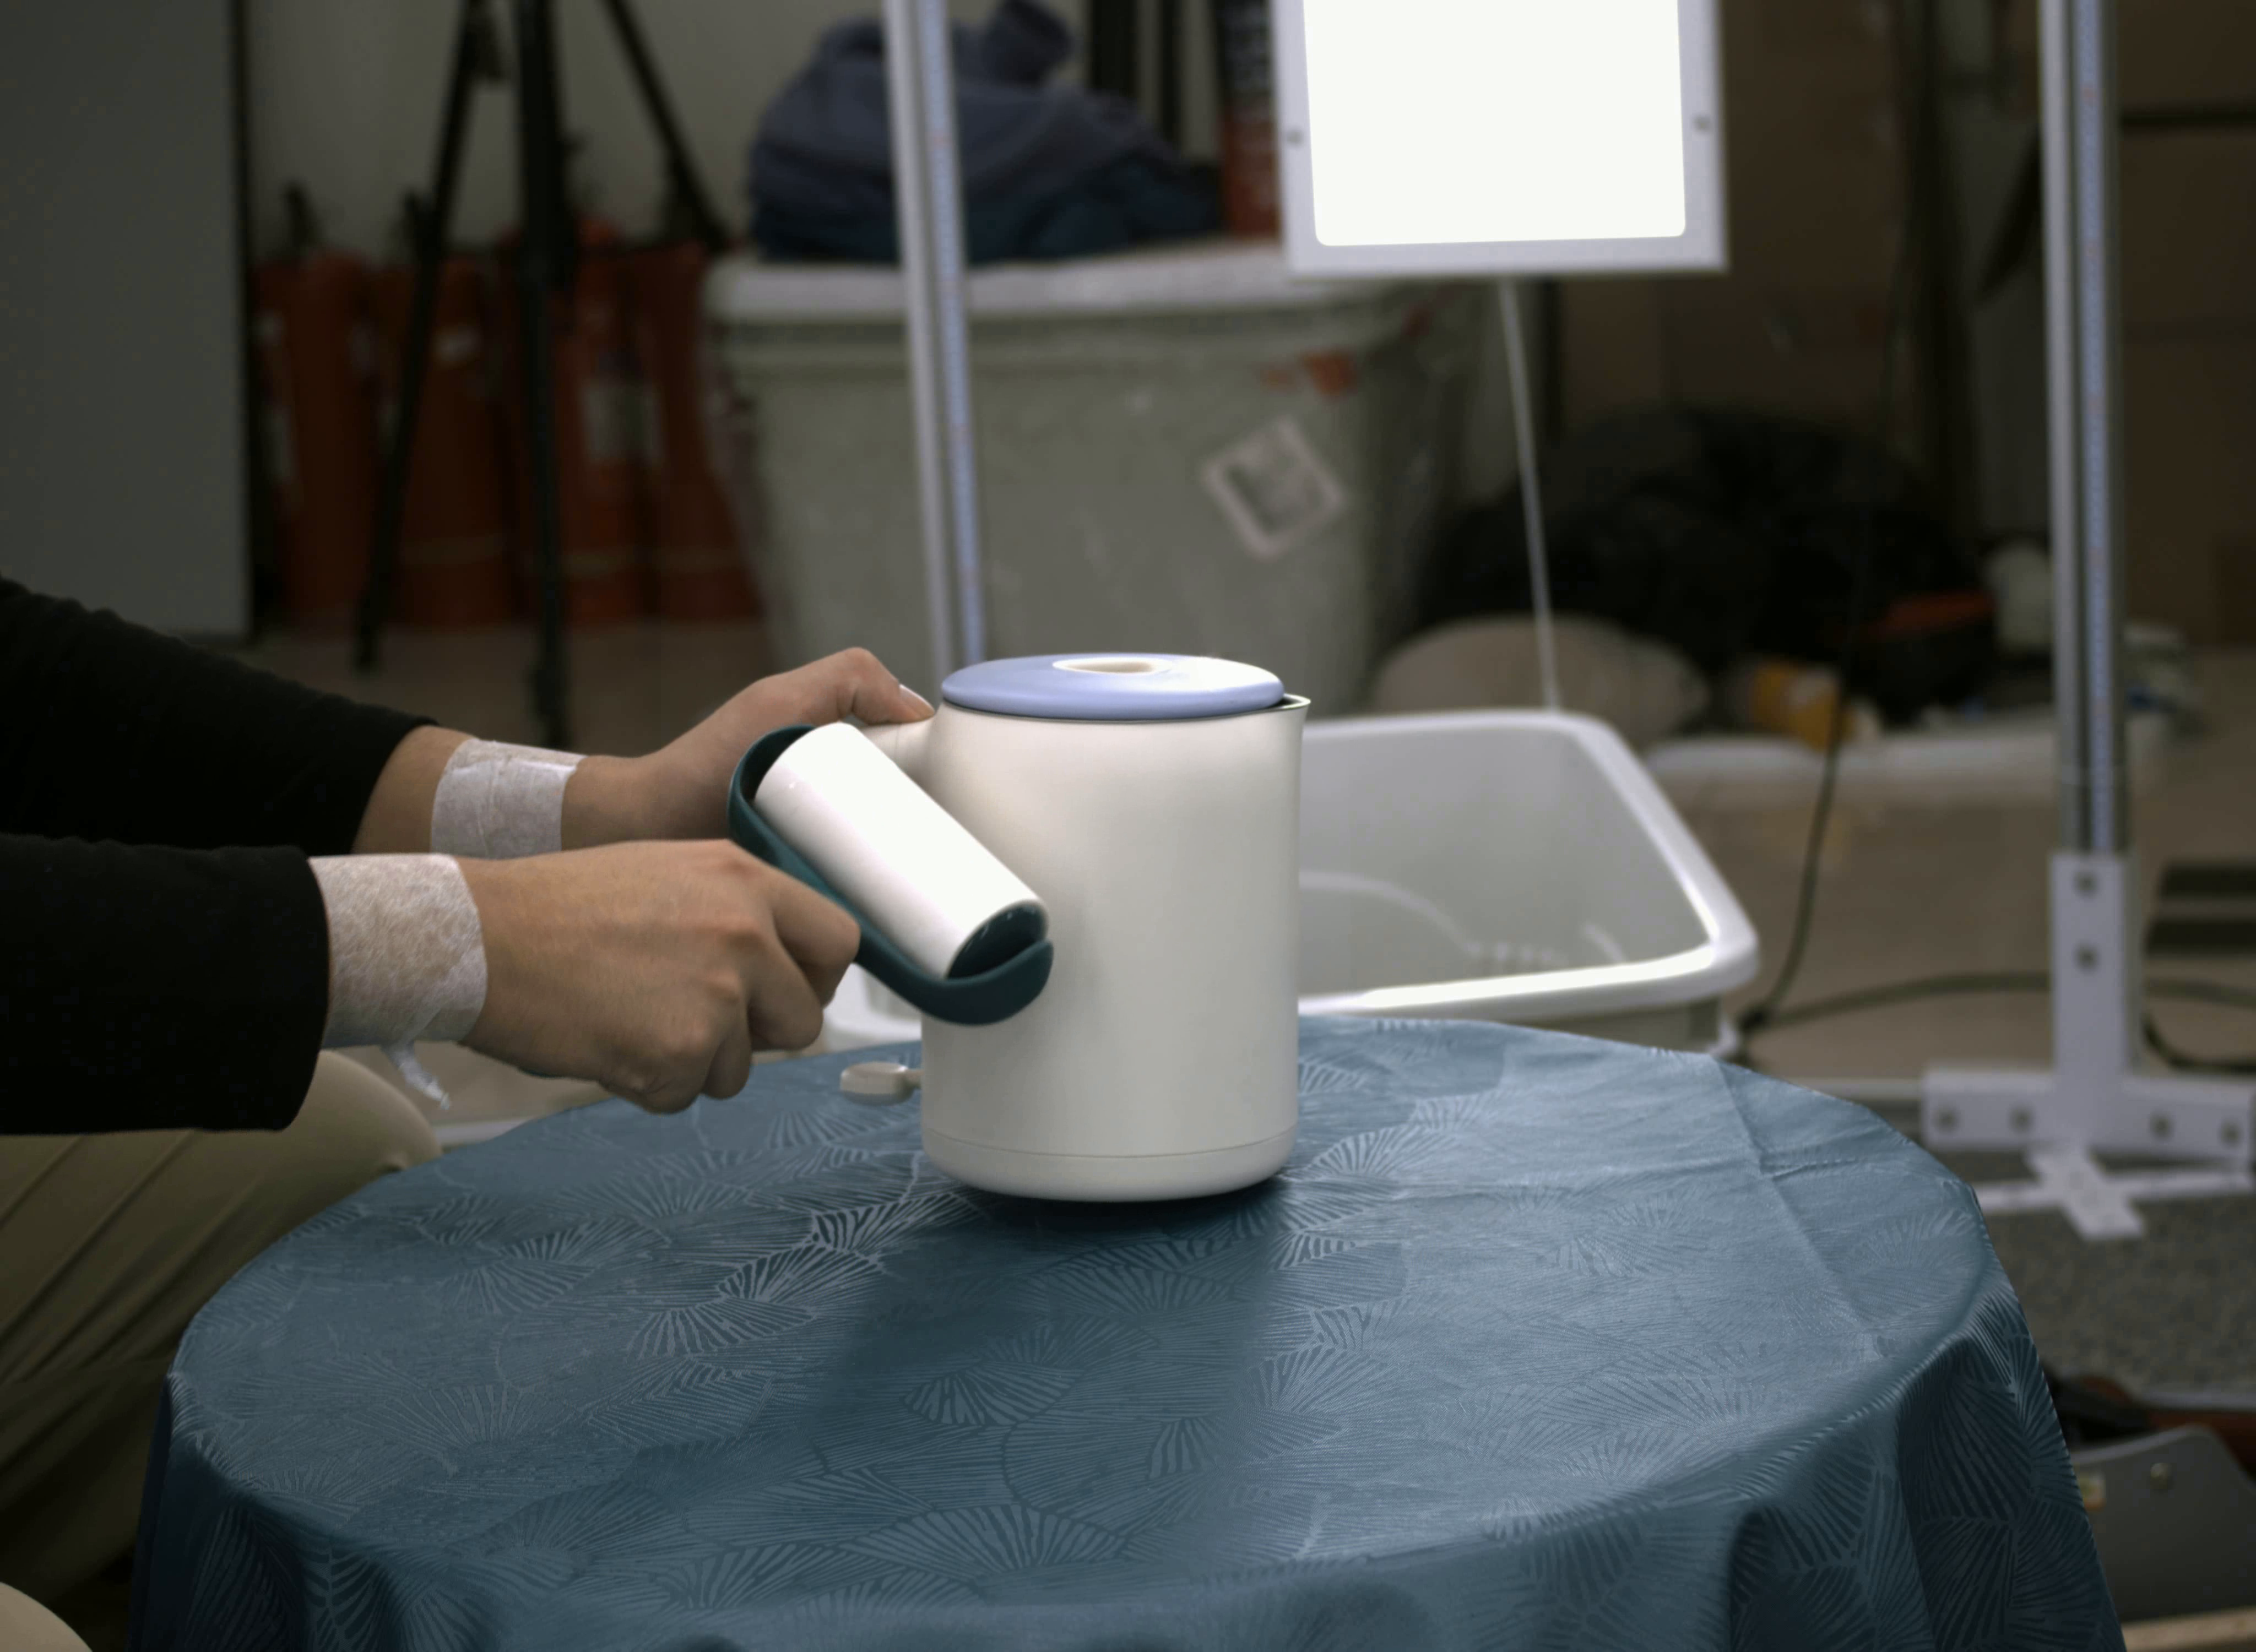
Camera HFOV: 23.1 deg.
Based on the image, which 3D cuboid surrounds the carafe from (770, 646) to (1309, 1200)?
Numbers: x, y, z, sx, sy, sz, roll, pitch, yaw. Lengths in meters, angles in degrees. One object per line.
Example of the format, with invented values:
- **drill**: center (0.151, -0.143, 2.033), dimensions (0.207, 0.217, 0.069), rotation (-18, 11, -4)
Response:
- **carafe**: center (-0.030, 0.033, 1.897), dimensions (0.192, 0.183, 0.131), rotation (-1, 8, 9)

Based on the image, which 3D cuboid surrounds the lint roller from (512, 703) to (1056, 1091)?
- **lint roller**: center (-0.124, 0.034, 1.778), dimensions (0.176, 0.049, 0.136), rotation (-24, 51, -36)
